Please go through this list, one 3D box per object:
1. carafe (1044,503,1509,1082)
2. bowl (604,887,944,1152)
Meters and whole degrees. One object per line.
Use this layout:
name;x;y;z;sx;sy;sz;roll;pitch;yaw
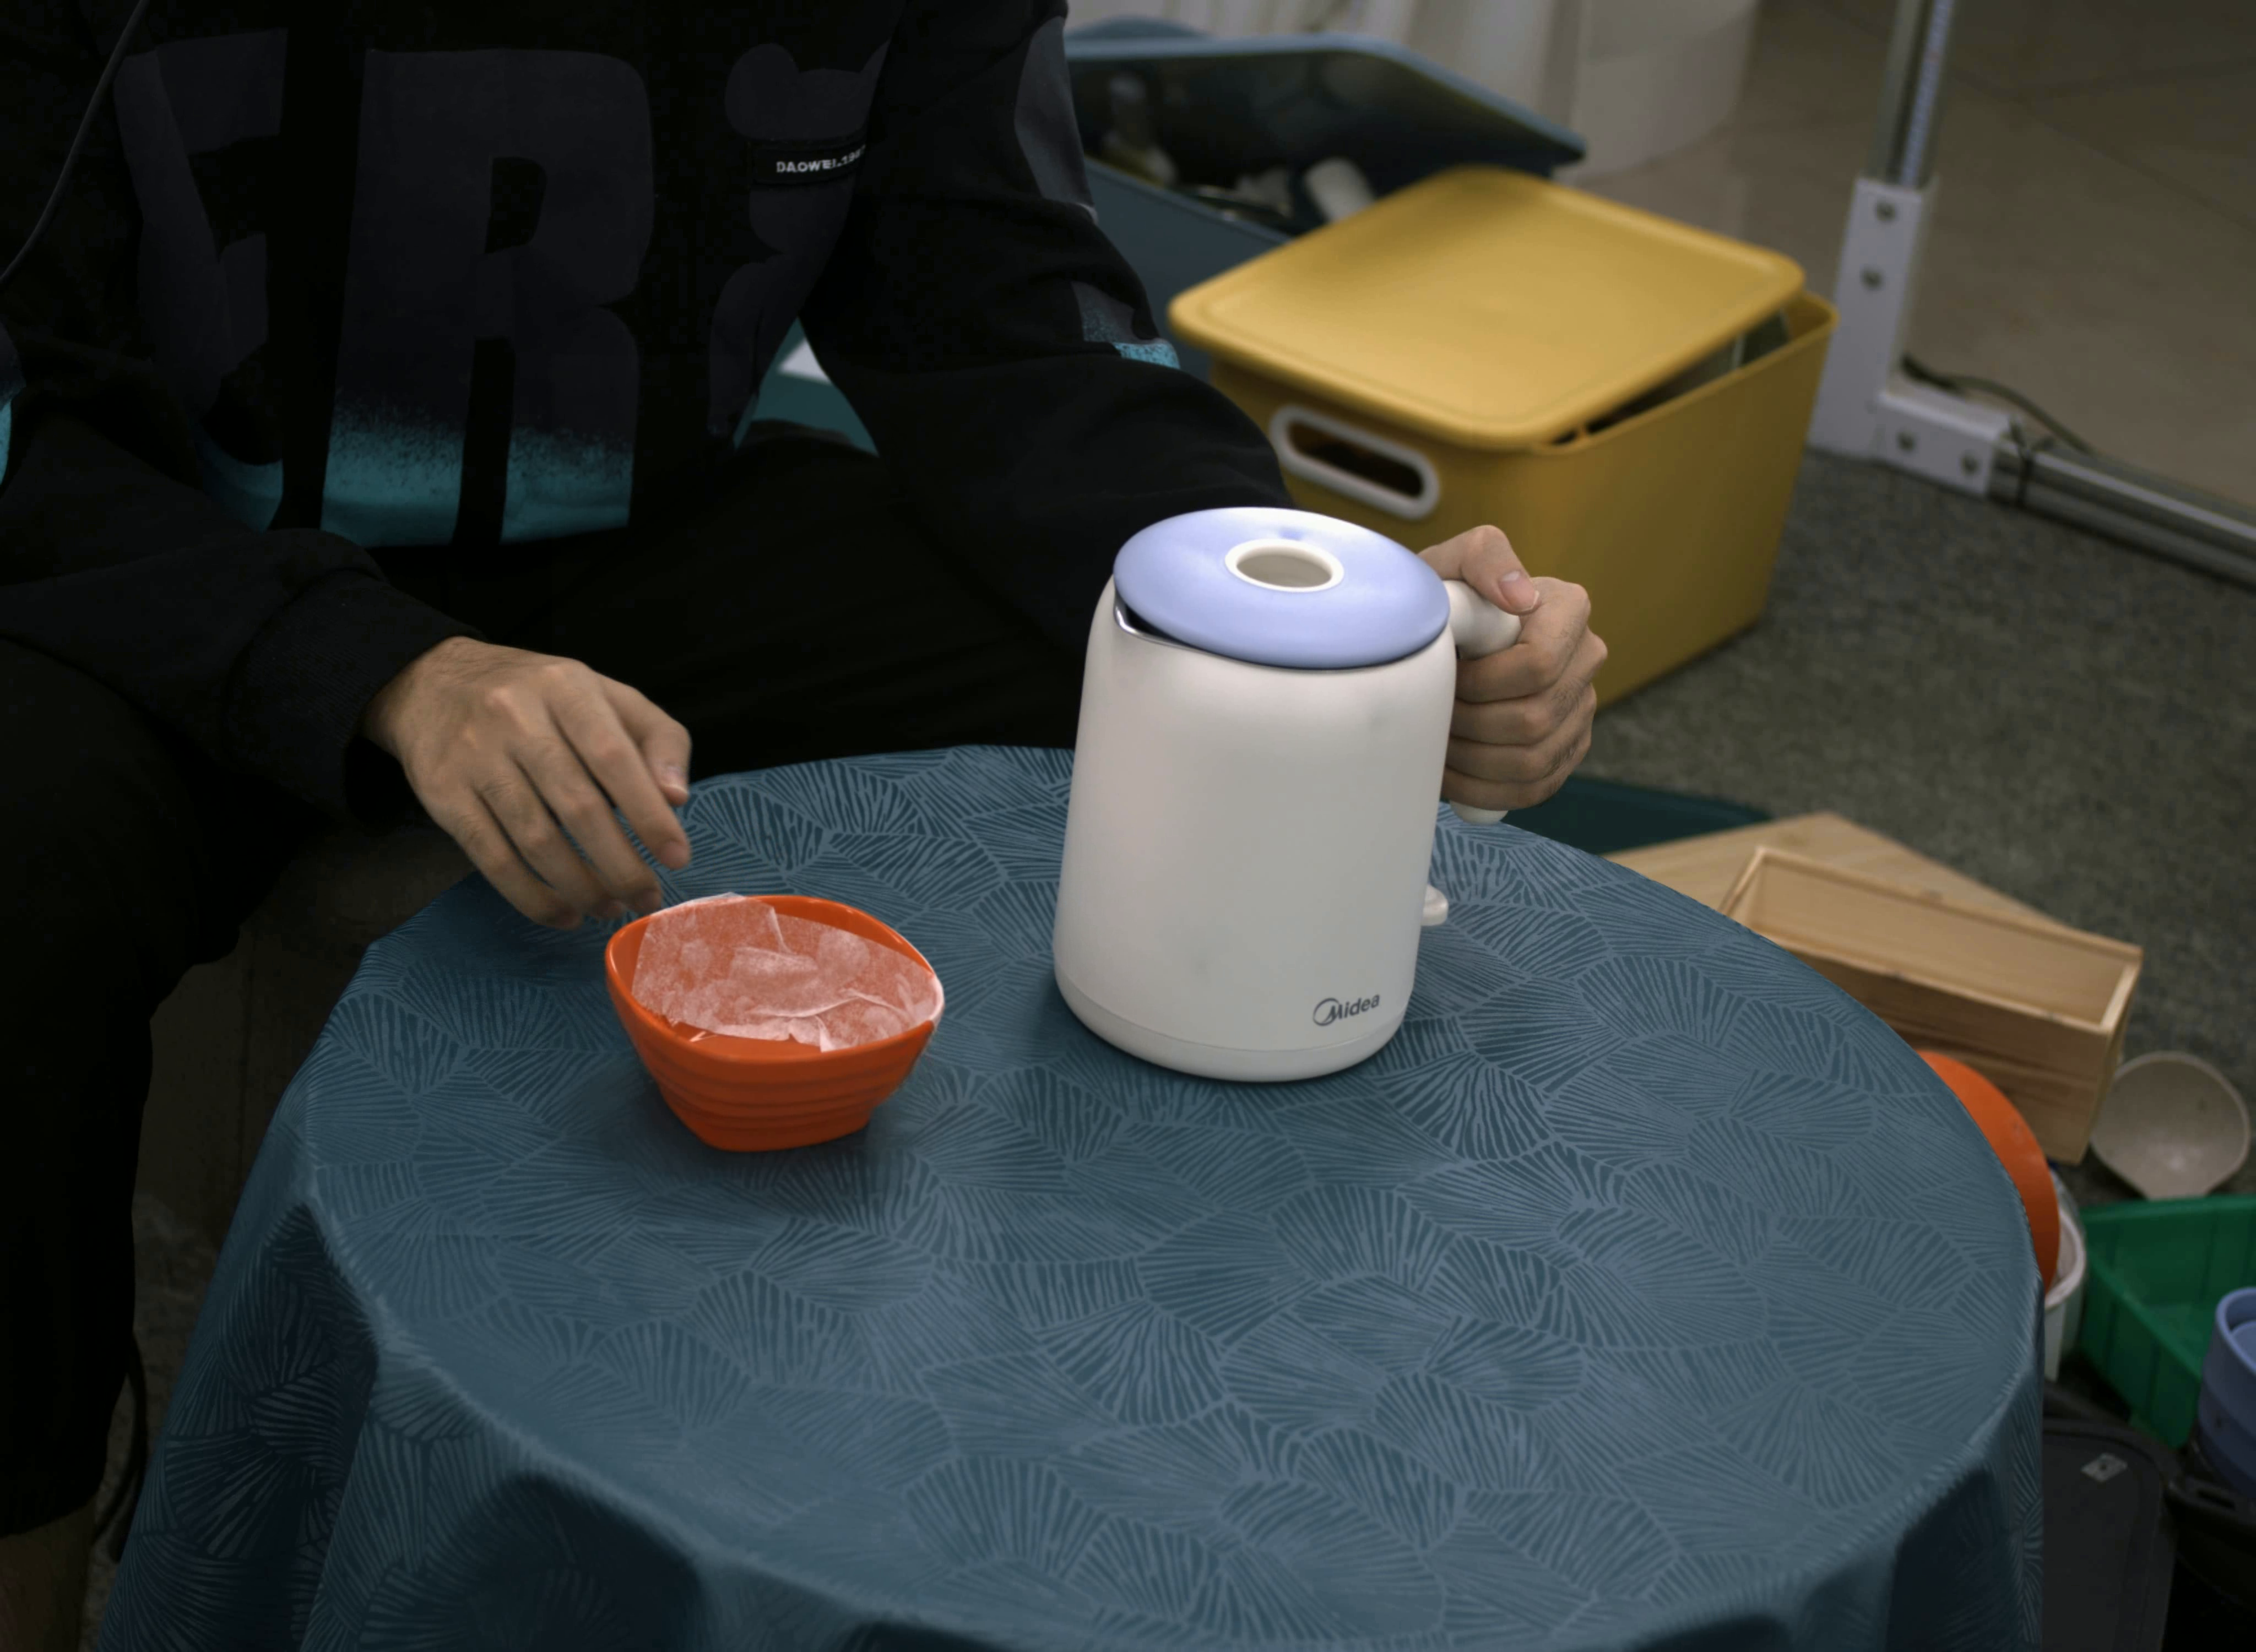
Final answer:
carafe;0.062;-0.017;1.901;0.190;0.182;0.133;-12;33;-37
bowl;-0.123;0.070;1.817;0.118;0.051;0.119;4;29;-3
